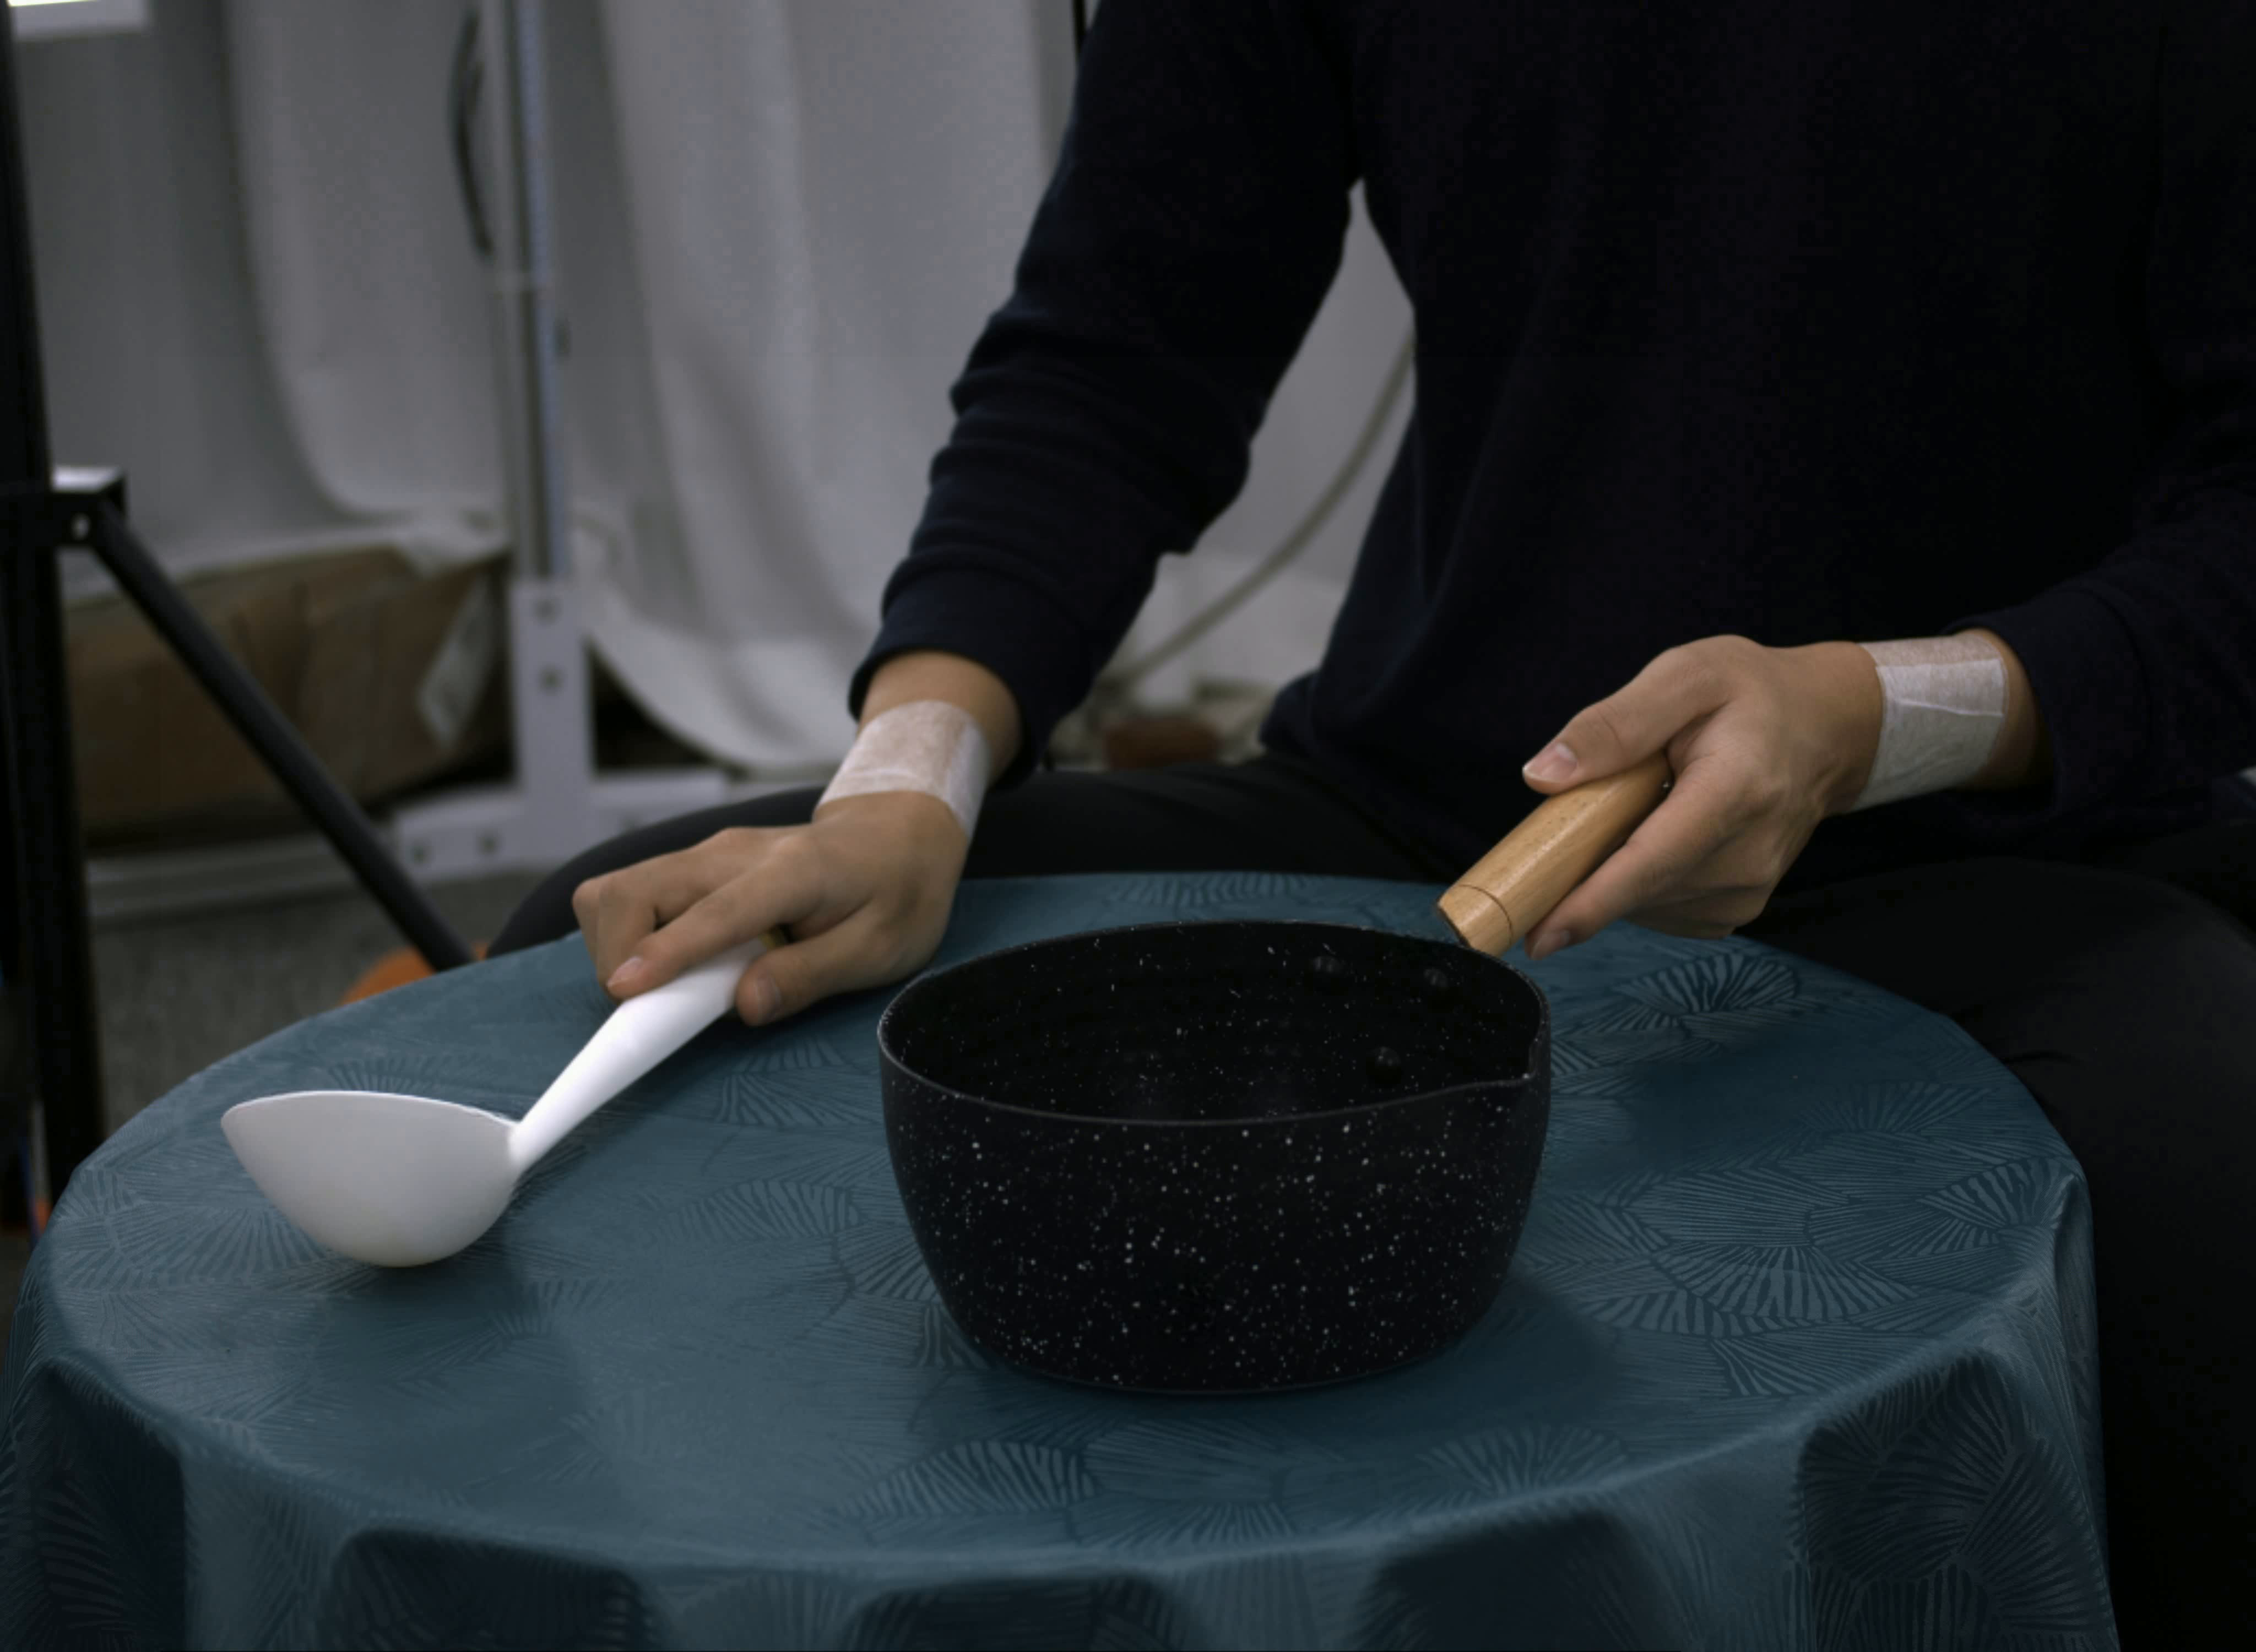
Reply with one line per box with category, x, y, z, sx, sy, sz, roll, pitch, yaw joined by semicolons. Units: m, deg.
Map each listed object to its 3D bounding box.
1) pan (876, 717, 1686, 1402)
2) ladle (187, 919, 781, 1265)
pan;0.068;0.061;1.514;0.211;0.108;0.336;7;19;34
ladle;-0.182;0.066;1.622;0.091;0.070;0.289;-13;11;24
